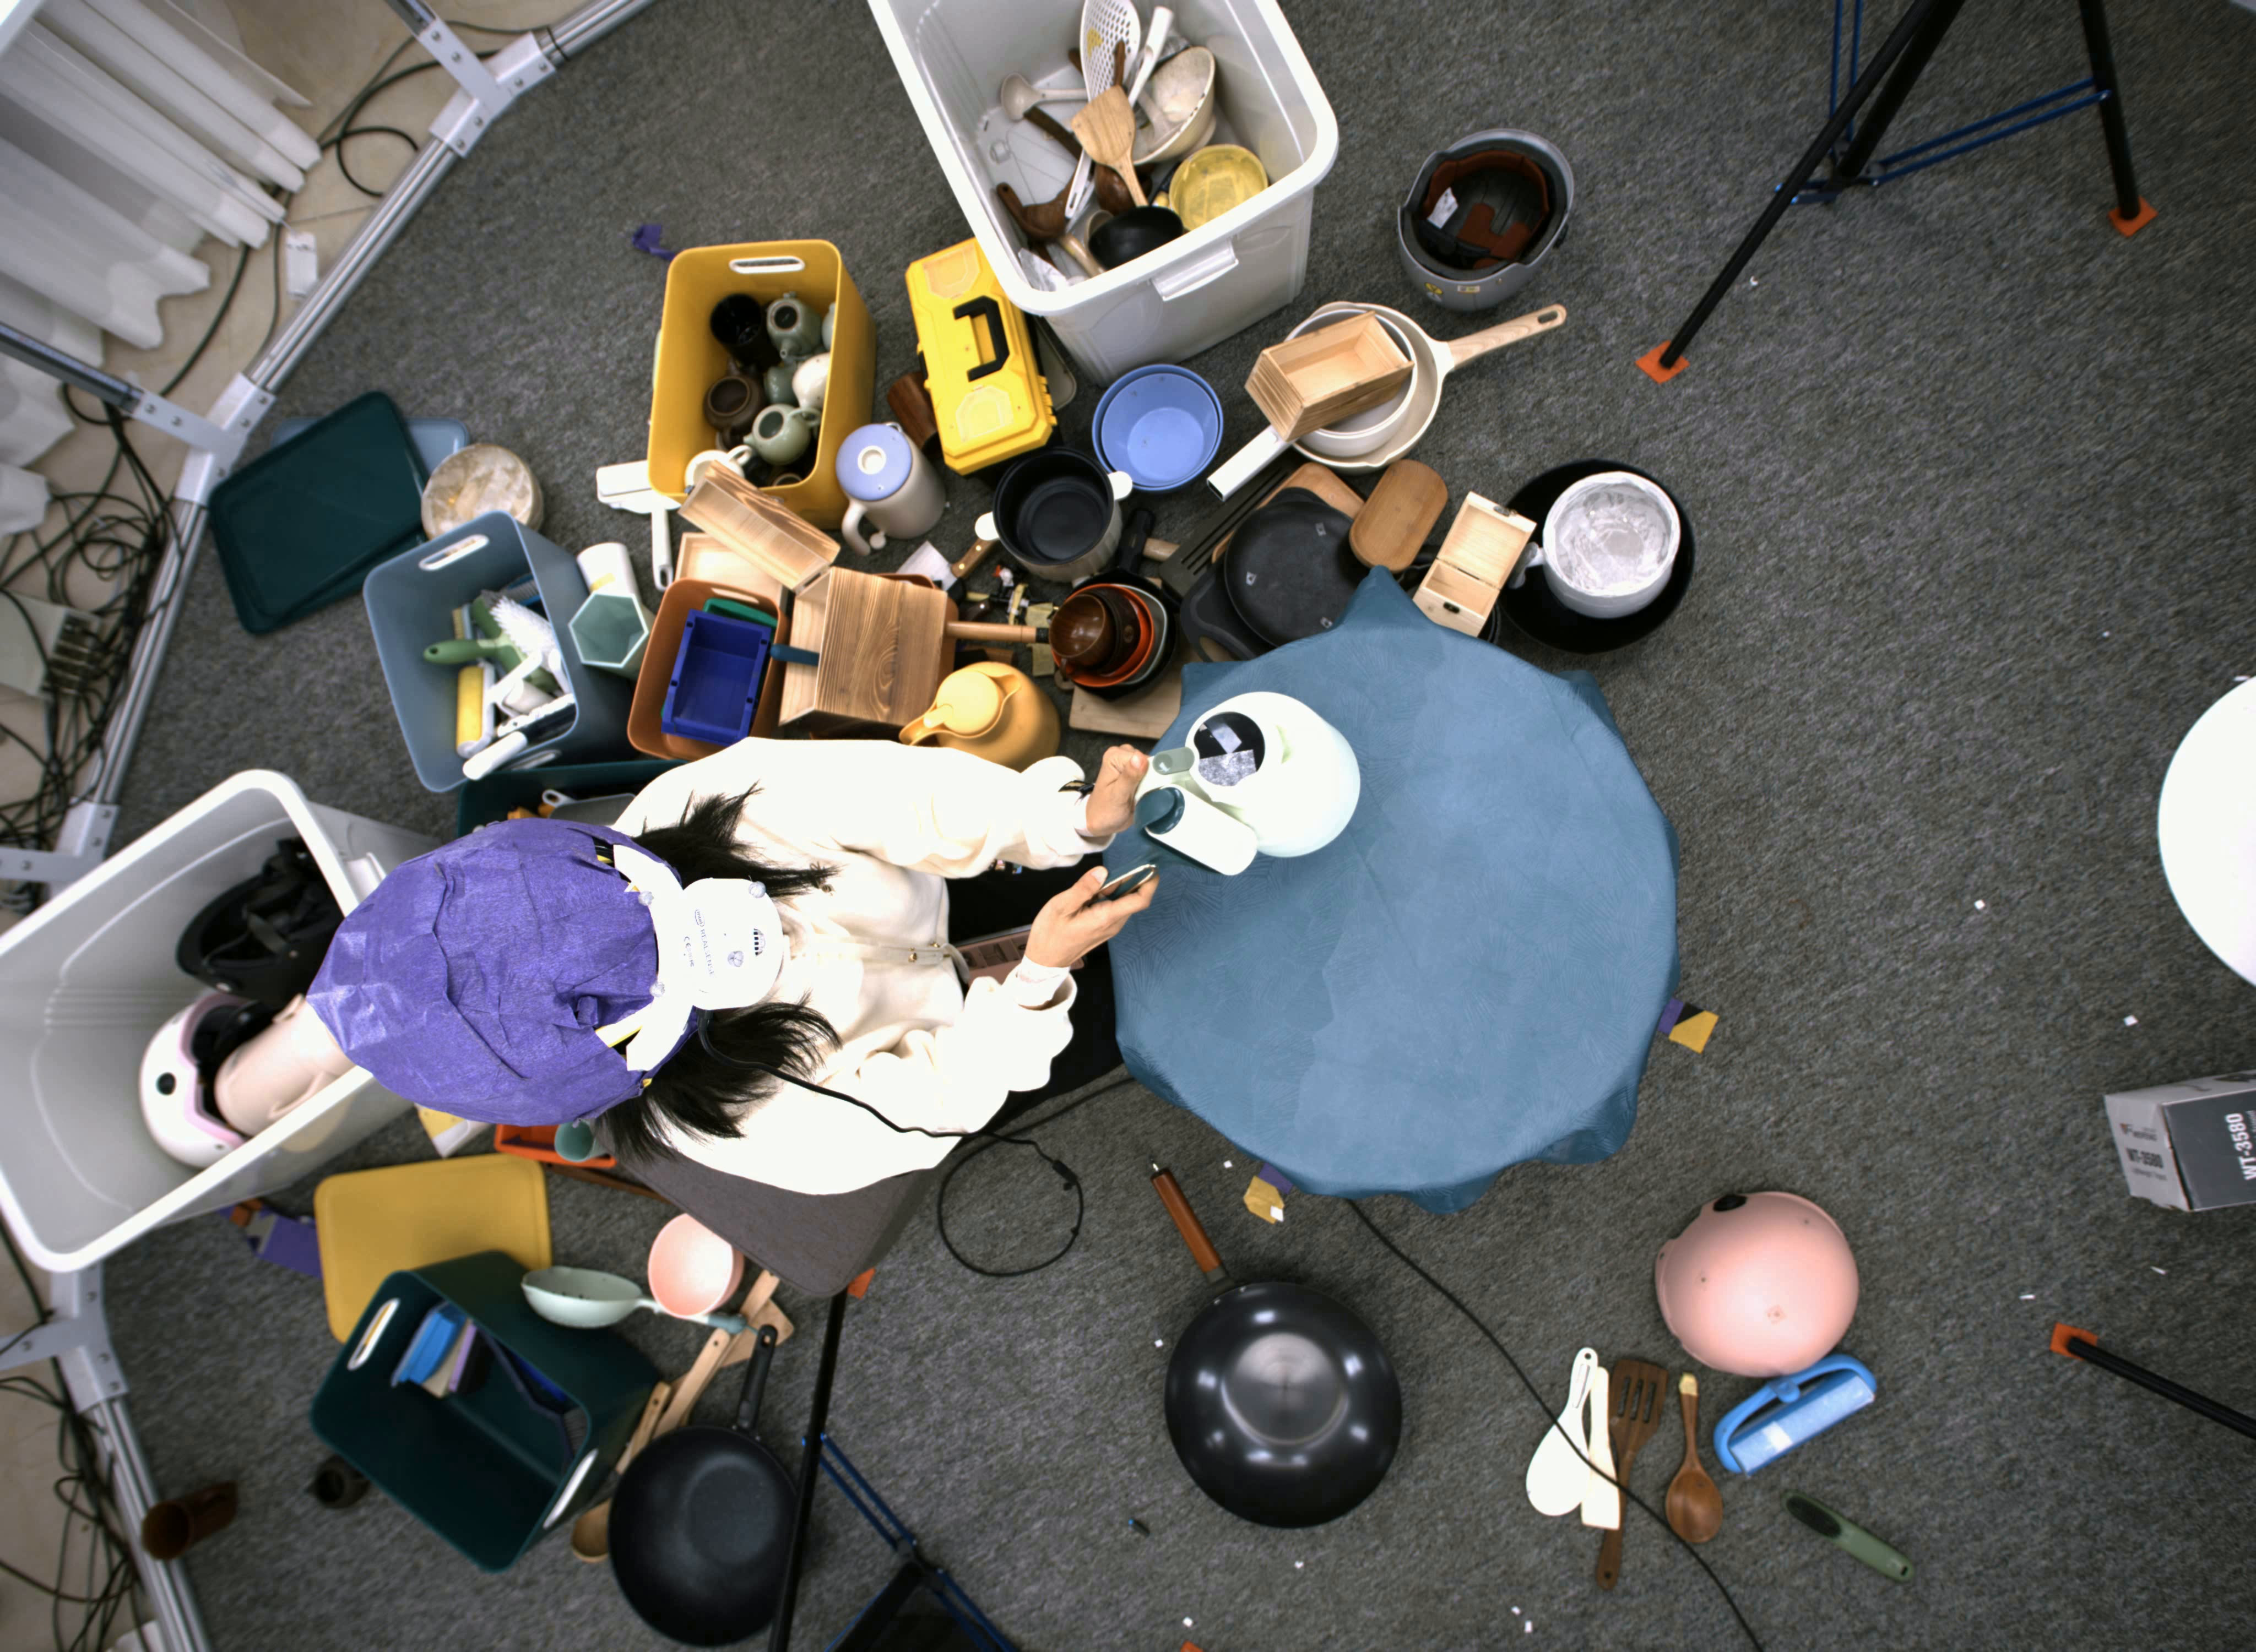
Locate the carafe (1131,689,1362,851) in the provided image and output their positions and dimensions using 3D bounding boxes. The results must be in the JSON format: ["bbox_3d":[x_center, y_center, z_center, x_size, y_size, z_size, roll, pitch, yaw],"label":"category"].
[{"bbox_3d":[0.109,-0.052,1.262,0.188,0.256,0.143,-11,84,21],"label":"carafe"}]

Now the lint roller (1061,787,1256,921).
[{"bbox_3d":[0.012,0.045,1.206,0.183,0.135,0.047,-39,48,23],"label":"lint roller"}]
